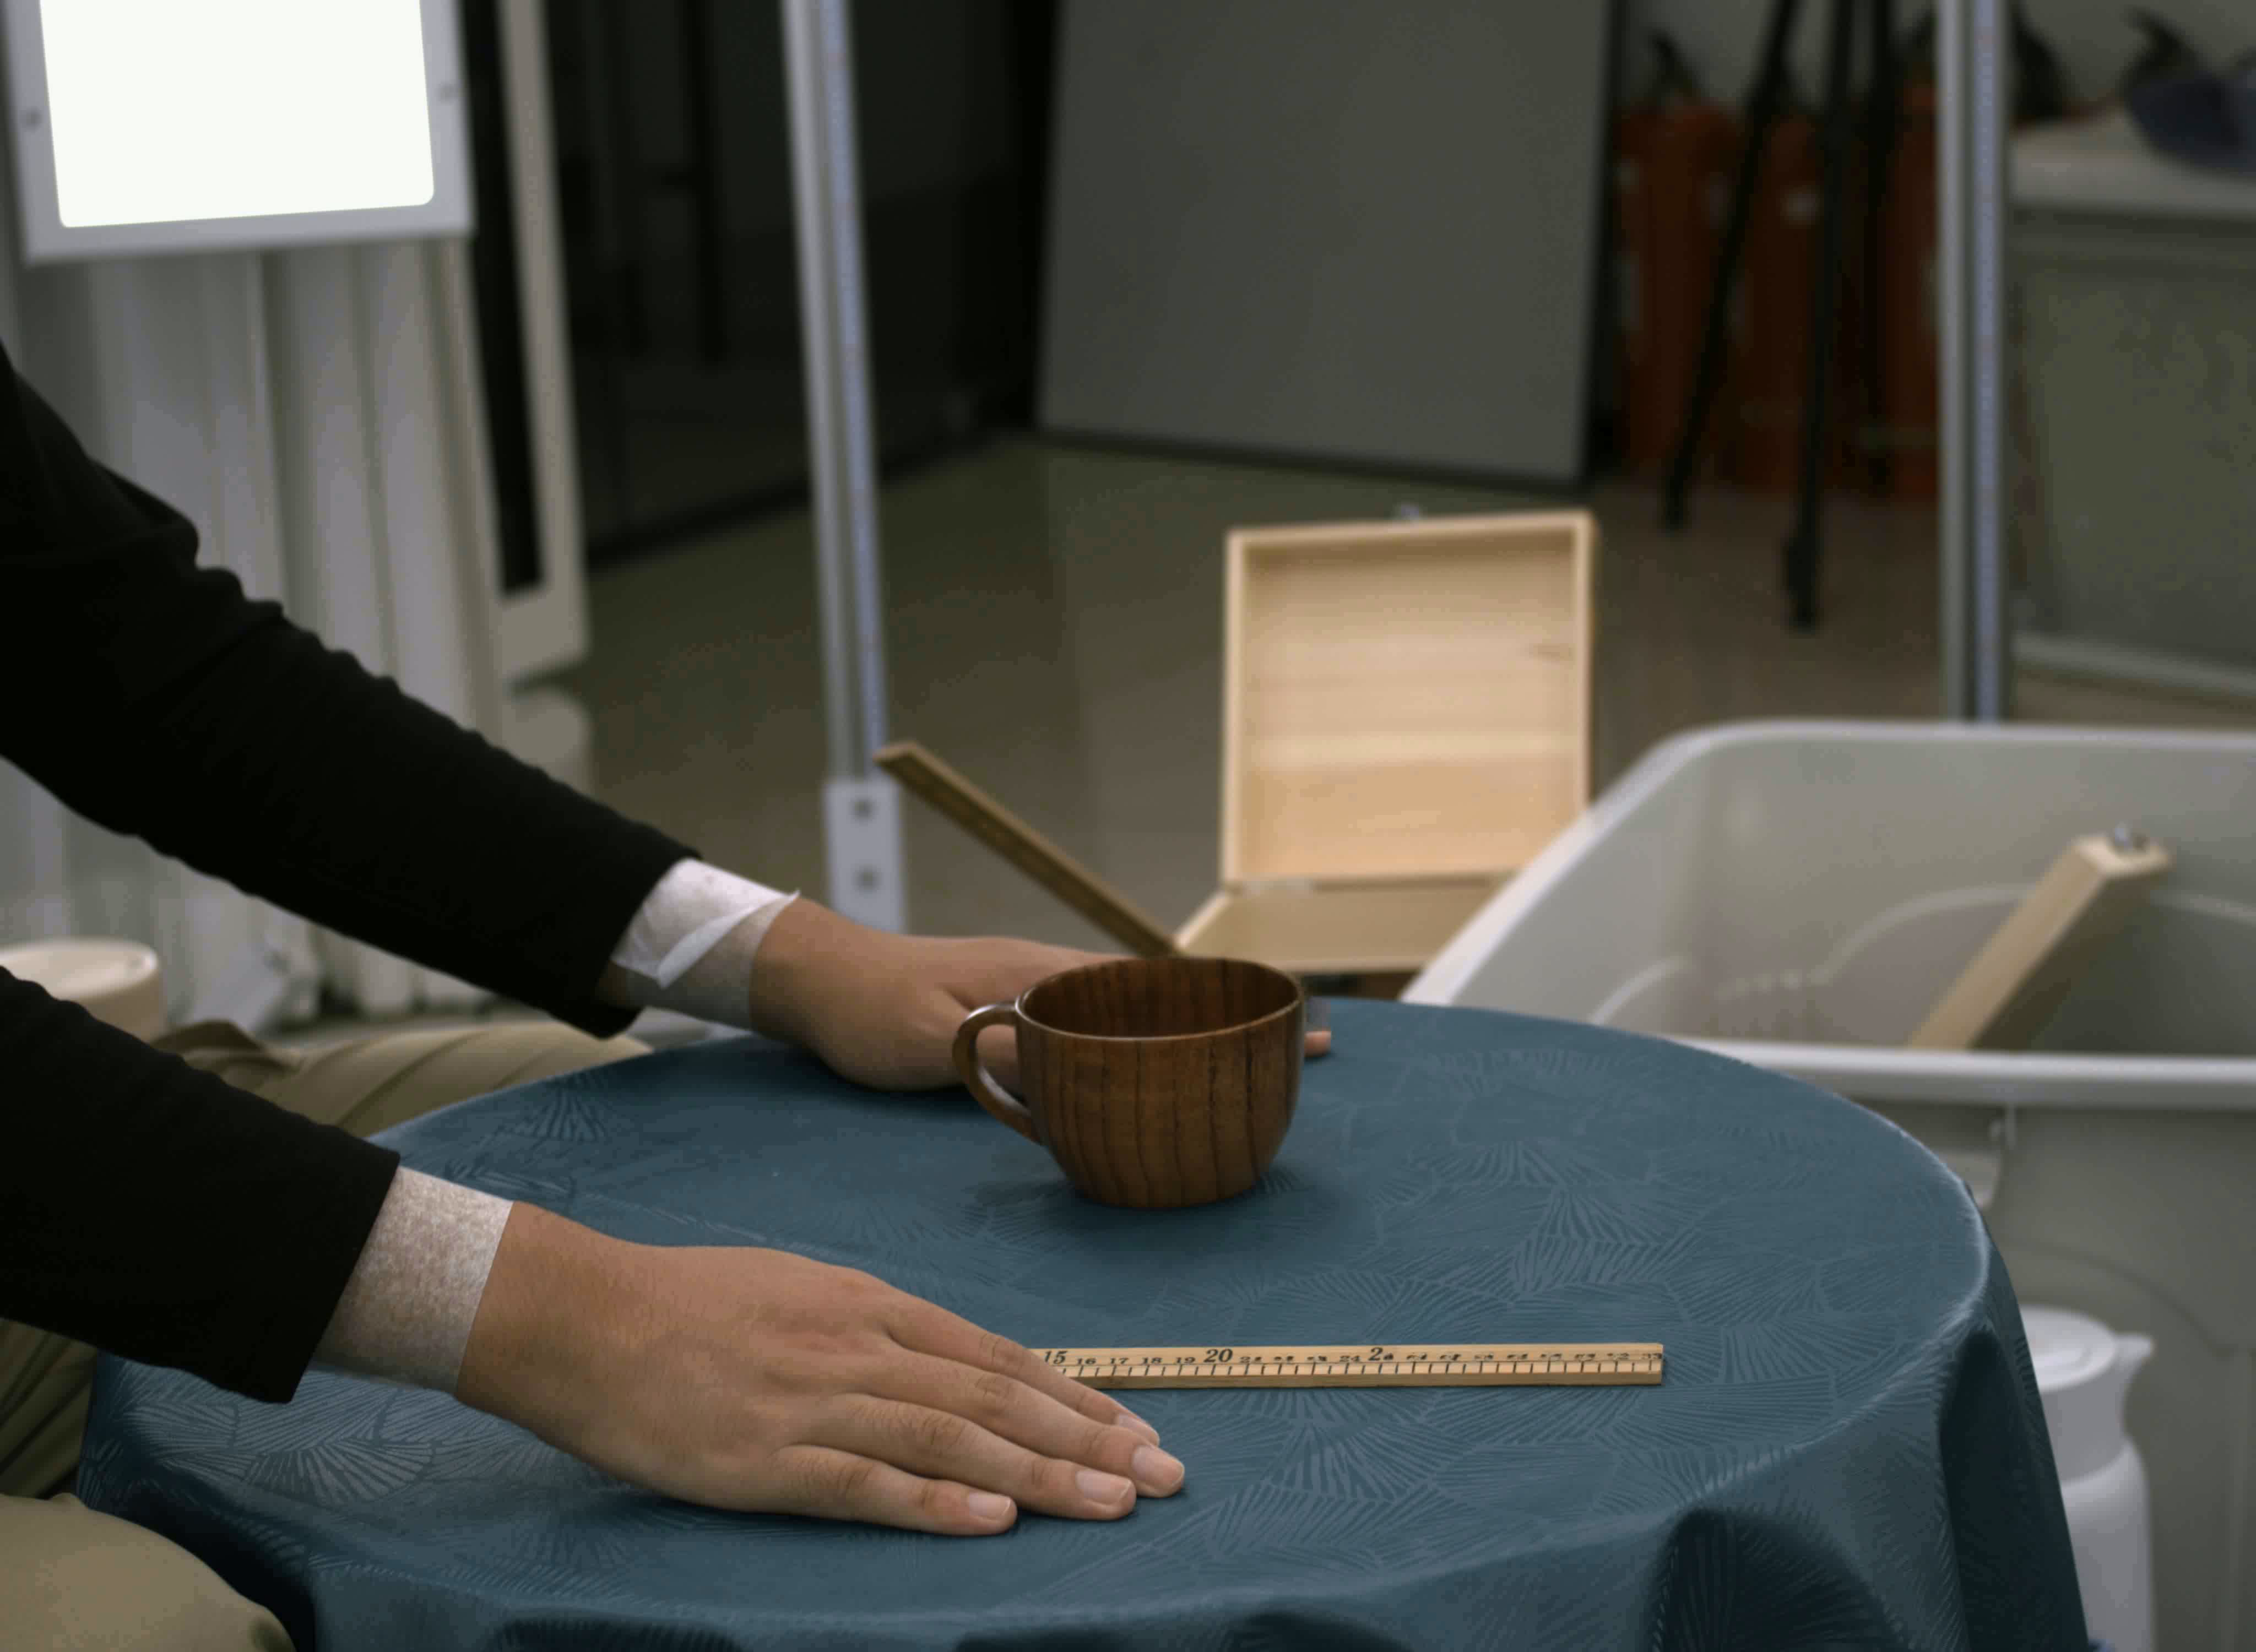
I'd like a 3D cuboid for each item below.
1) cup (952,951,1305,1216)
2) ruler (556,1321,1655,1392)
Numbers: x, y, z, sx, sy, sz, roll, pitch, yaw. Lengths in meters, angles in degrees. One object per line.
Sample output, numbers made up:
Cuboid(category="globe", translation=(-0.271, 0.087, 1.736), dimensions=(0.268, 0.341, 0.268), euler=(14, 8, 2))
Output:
Cuboid(category="cup", translation=(0.001, 0.086, 1.775), dimensions=(0.119, 0.068, 0.095), euler=(-2, 16, 14))
Cuboid(category="ruler", translation=(-0.008, 0.158, 1.599), dimensions=(0.329, 0.022, 0.027), euler=(-1, 9, 11))
